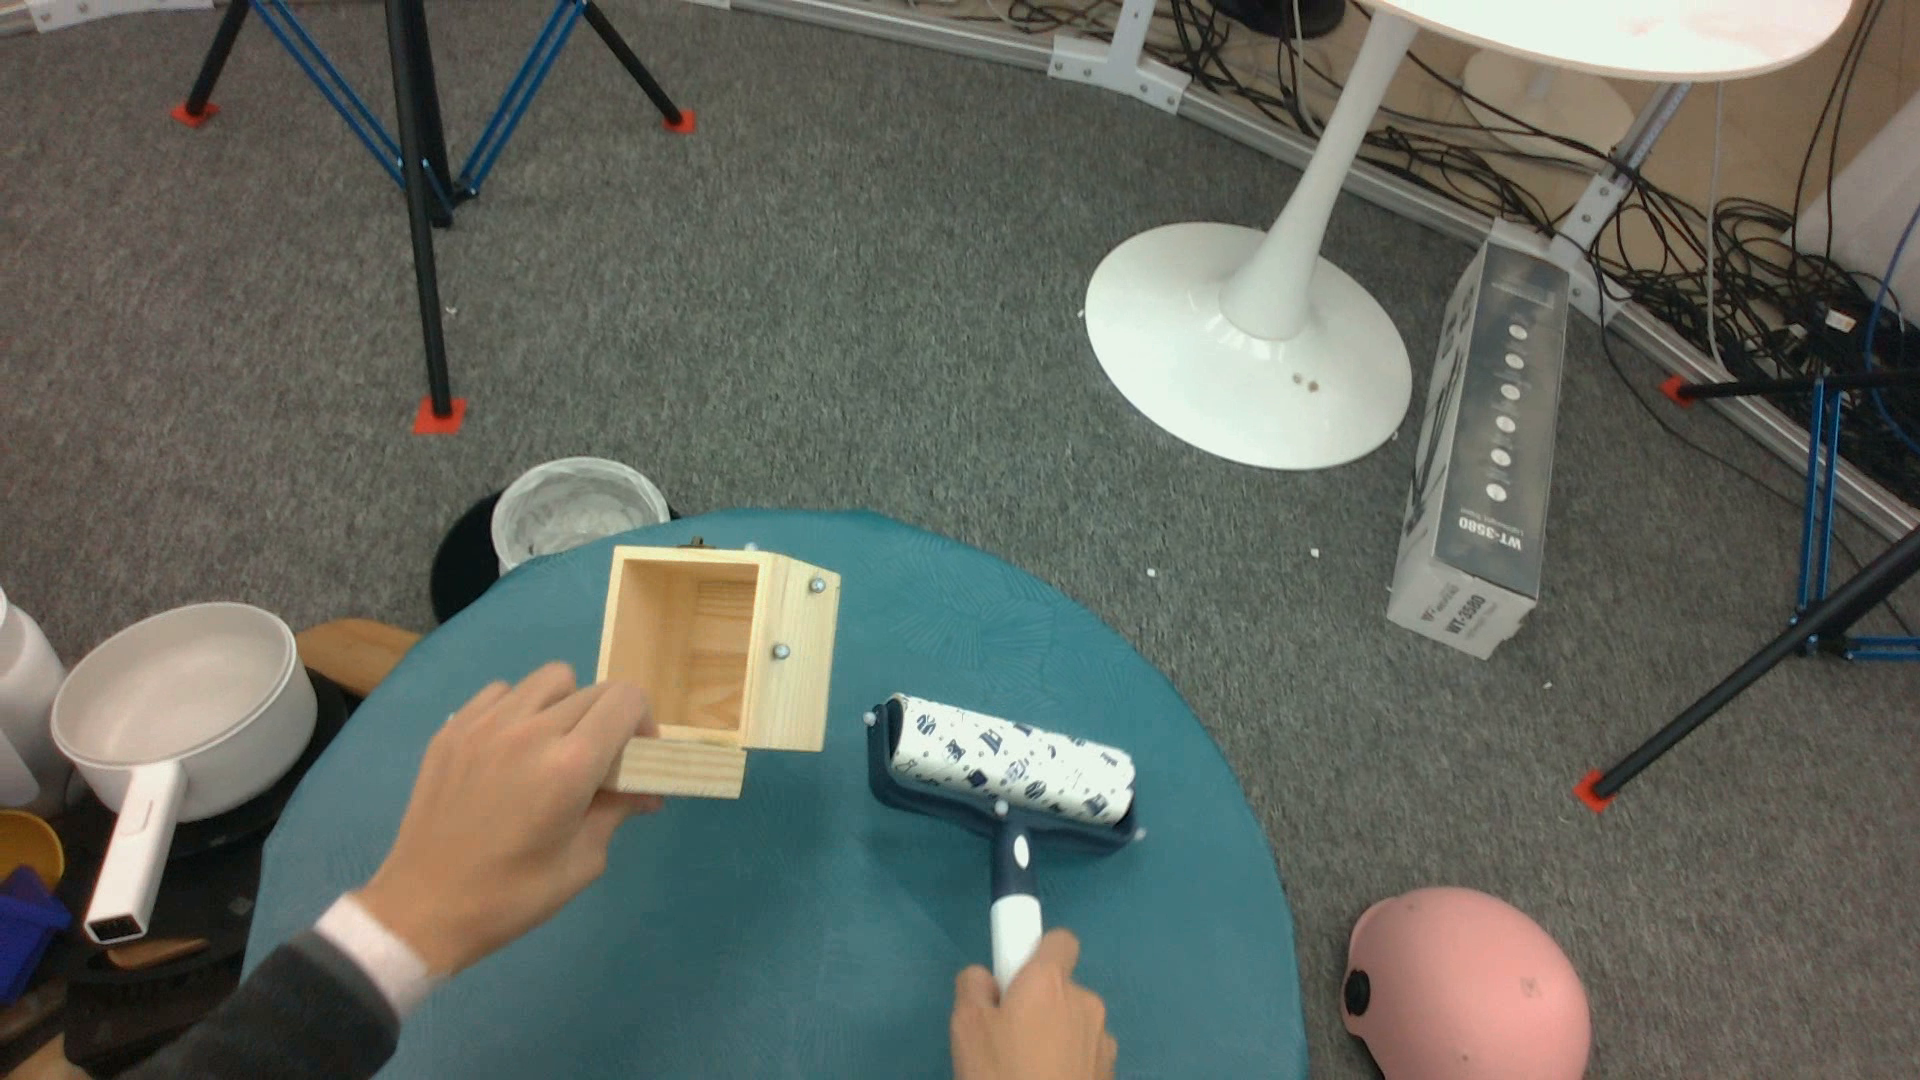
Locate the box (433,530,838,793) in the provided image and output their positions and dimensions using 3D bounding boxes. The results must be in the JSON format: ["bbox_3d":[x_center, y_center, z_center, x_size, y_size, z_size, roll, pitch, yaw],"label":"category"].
[{"bbox_3d":[-0.157,0.058,0.704,0.102,0.184,0.134,1,82,26],"label":"box"}]

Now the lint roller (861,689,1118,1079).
[{"bbox_3d":[0.029,0.209,0.754,0.176,0.050,0.248,23,42,-31],"label":"lint roller"}]
